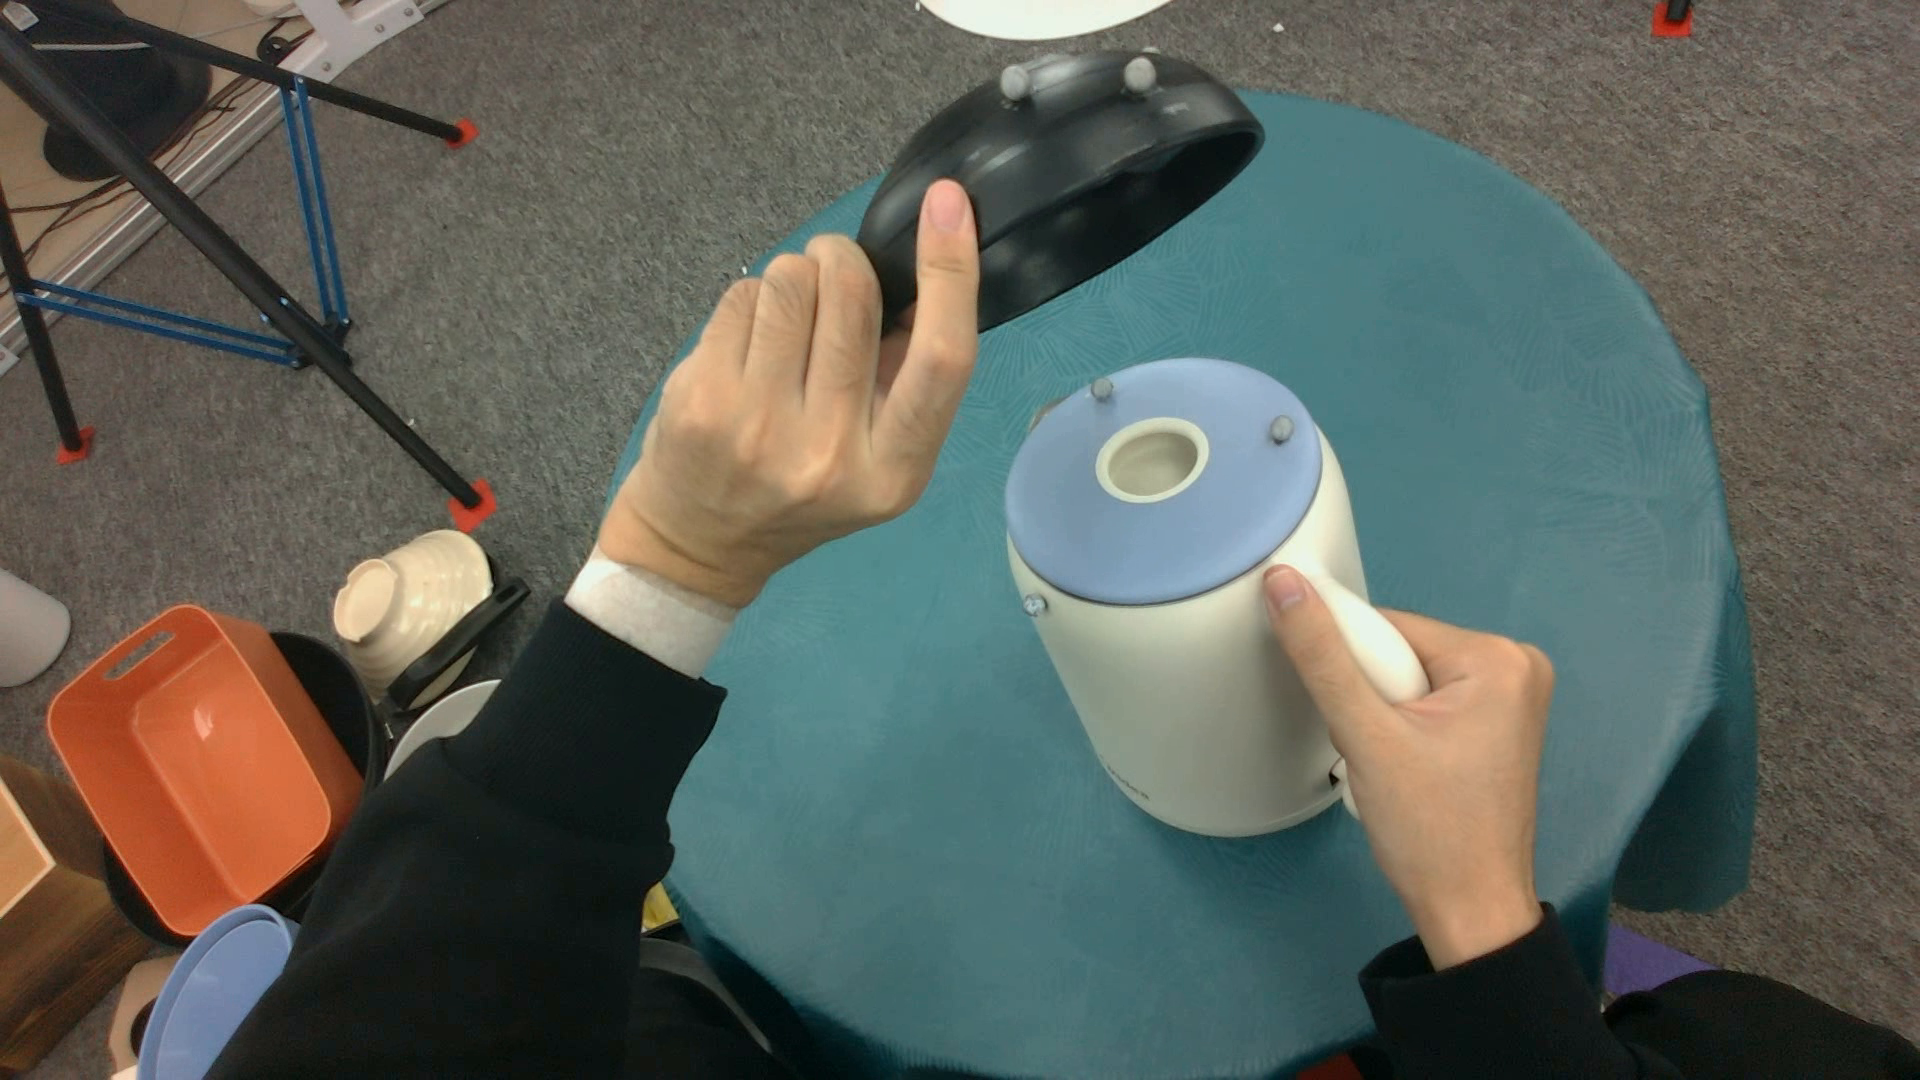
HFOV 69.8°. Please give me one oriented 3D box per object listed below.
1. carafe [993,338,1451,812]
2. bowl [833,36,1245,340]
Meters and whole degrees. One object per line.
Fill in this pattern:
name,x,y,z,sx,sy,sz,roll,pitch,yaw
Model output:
carafe,0.110,0.030,0.554,0.132,0.182,0.191,-44,51,-14
bowl,0.016,-0.117,0.434,0.140,0.140,0.050,-27,89,-1
